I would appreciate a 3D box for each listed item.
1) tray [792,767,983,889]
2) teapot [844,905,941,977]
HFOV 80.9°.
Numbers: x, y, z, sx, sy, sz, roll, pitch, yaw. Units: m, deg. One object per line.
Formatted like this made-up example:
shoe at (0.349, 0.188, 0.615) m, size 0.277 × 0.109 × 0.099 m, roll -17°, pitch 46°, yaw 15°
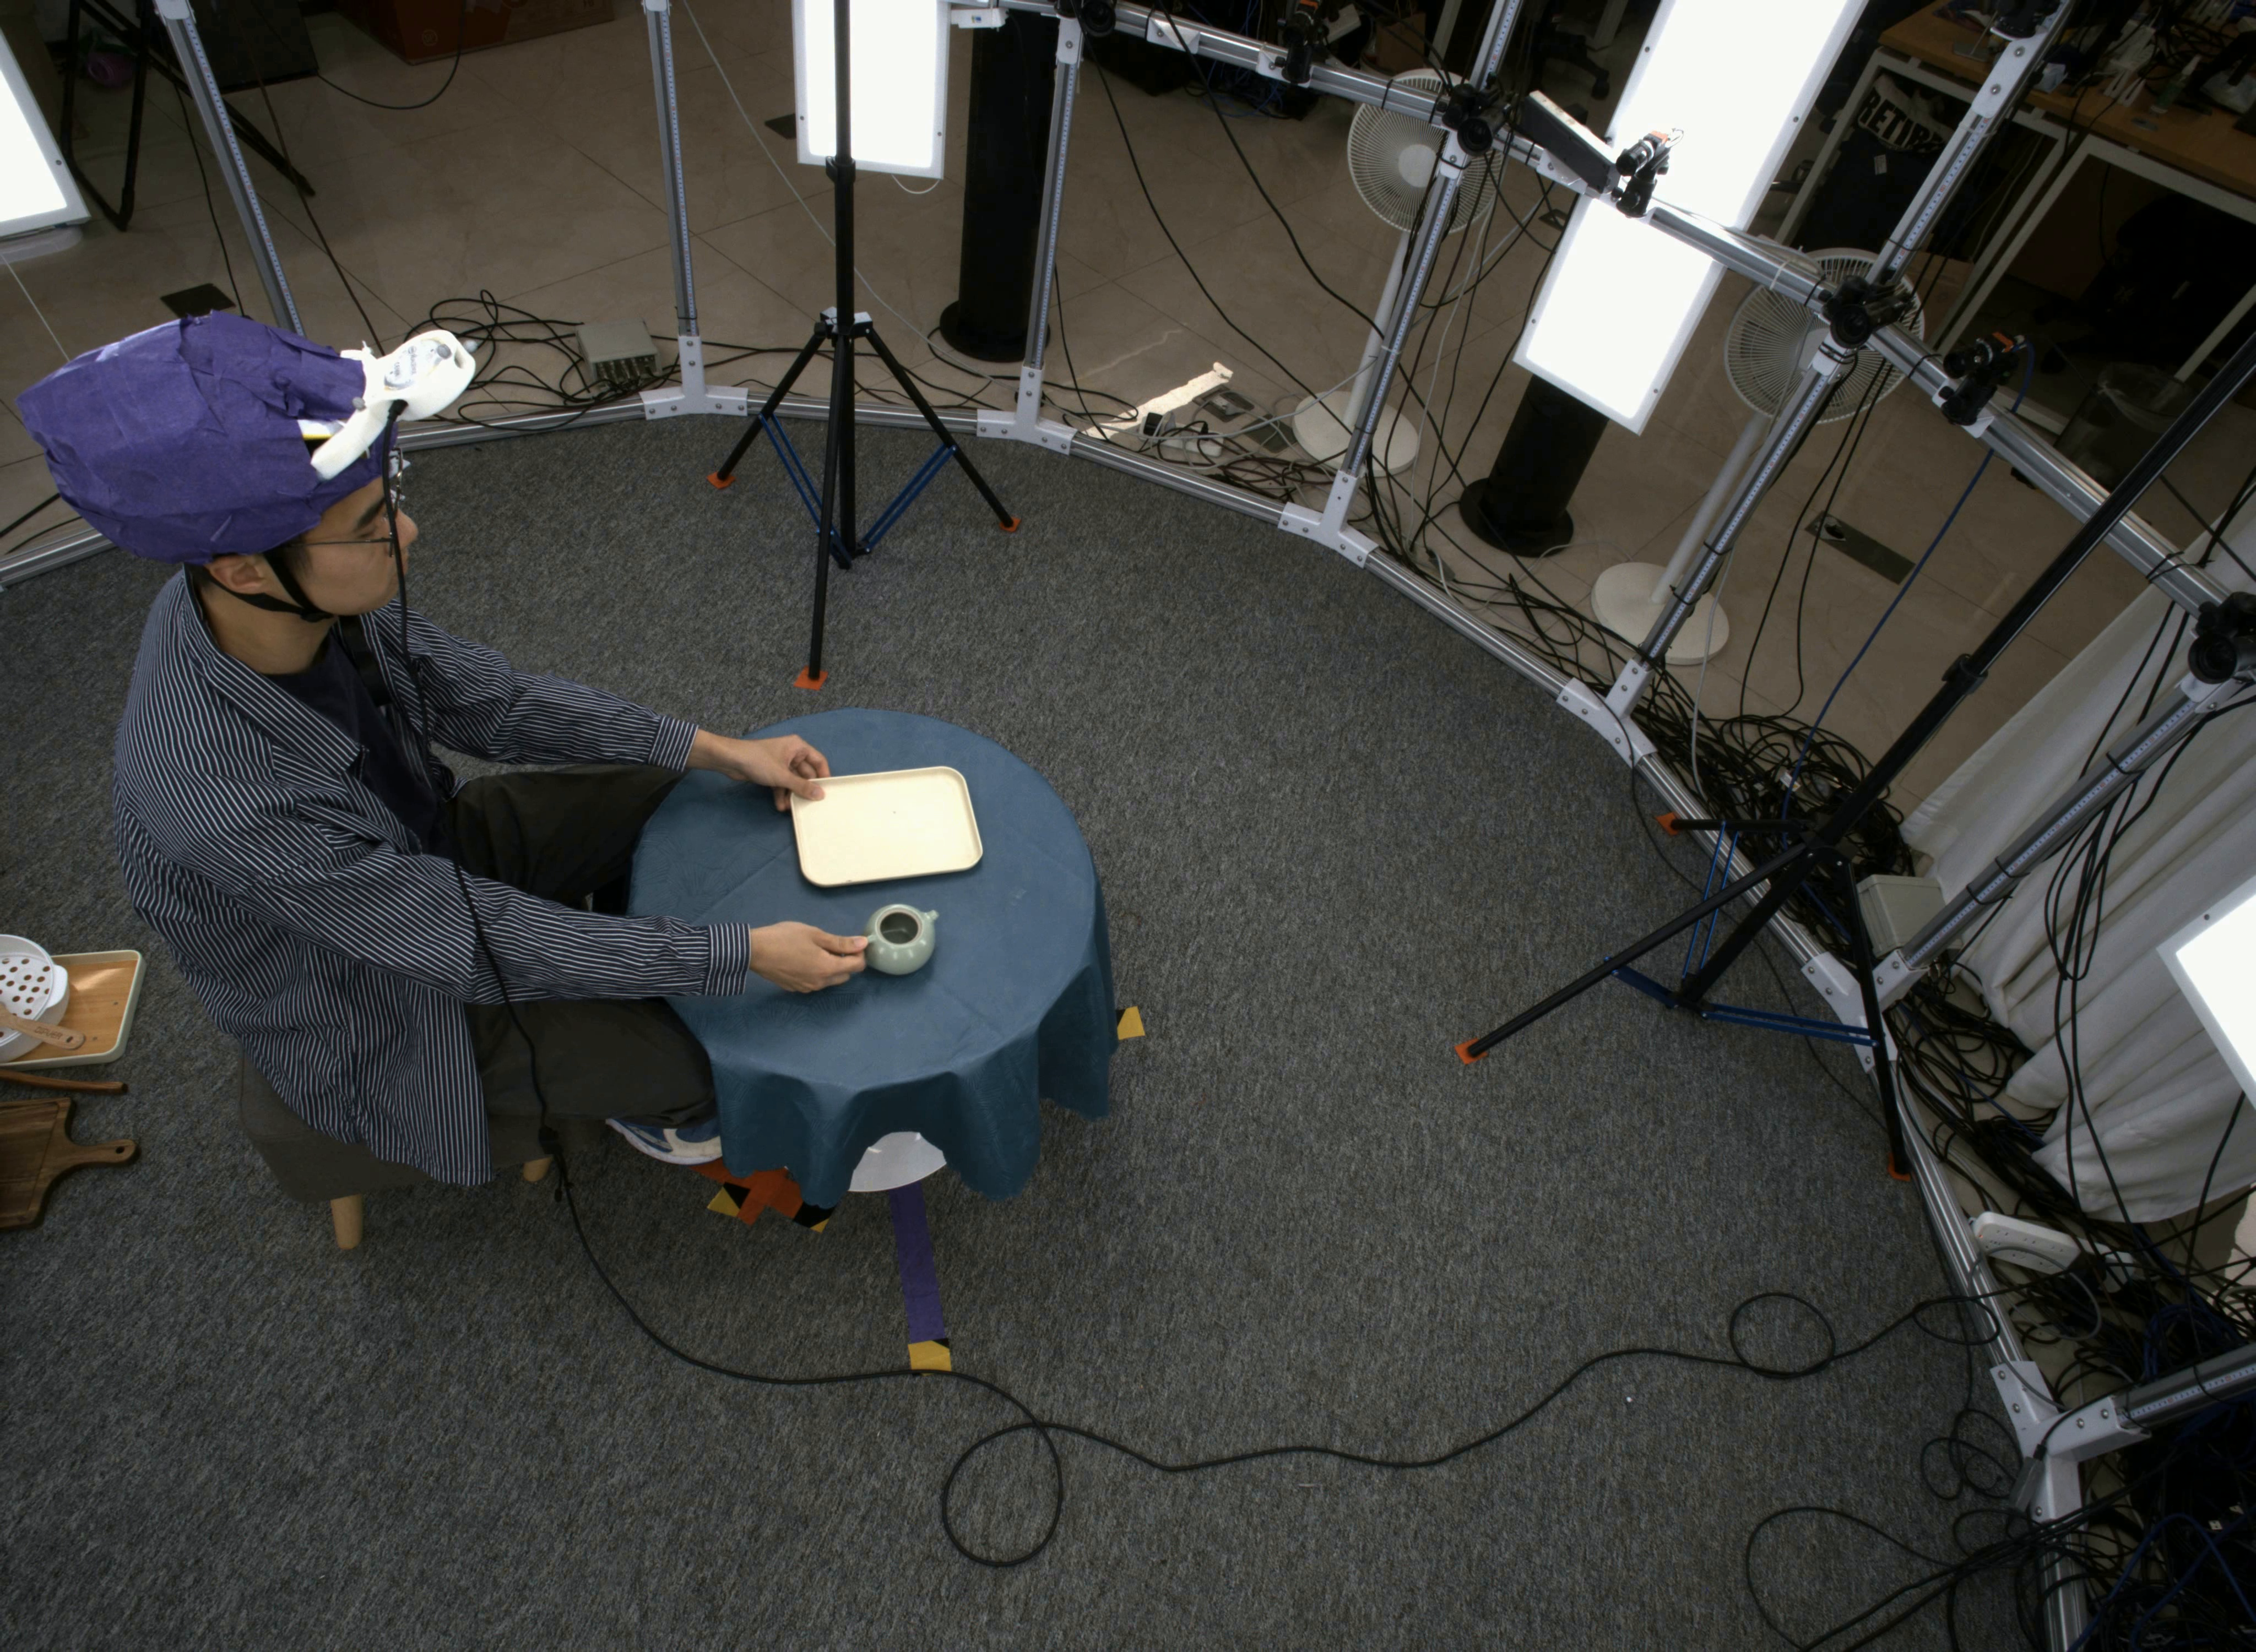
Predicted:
tray at (-0.323, 0.001, 1.746) m, size 0.240 × 0.018 × 0.167 m, roll -7°, pitch 59°, yaw -19°
teapot at (-0.295, 0.145, 1.625) m, size 0.129 × 0.062 × 0.089 m, roll -18°, pitch 62°, yaw -27°
